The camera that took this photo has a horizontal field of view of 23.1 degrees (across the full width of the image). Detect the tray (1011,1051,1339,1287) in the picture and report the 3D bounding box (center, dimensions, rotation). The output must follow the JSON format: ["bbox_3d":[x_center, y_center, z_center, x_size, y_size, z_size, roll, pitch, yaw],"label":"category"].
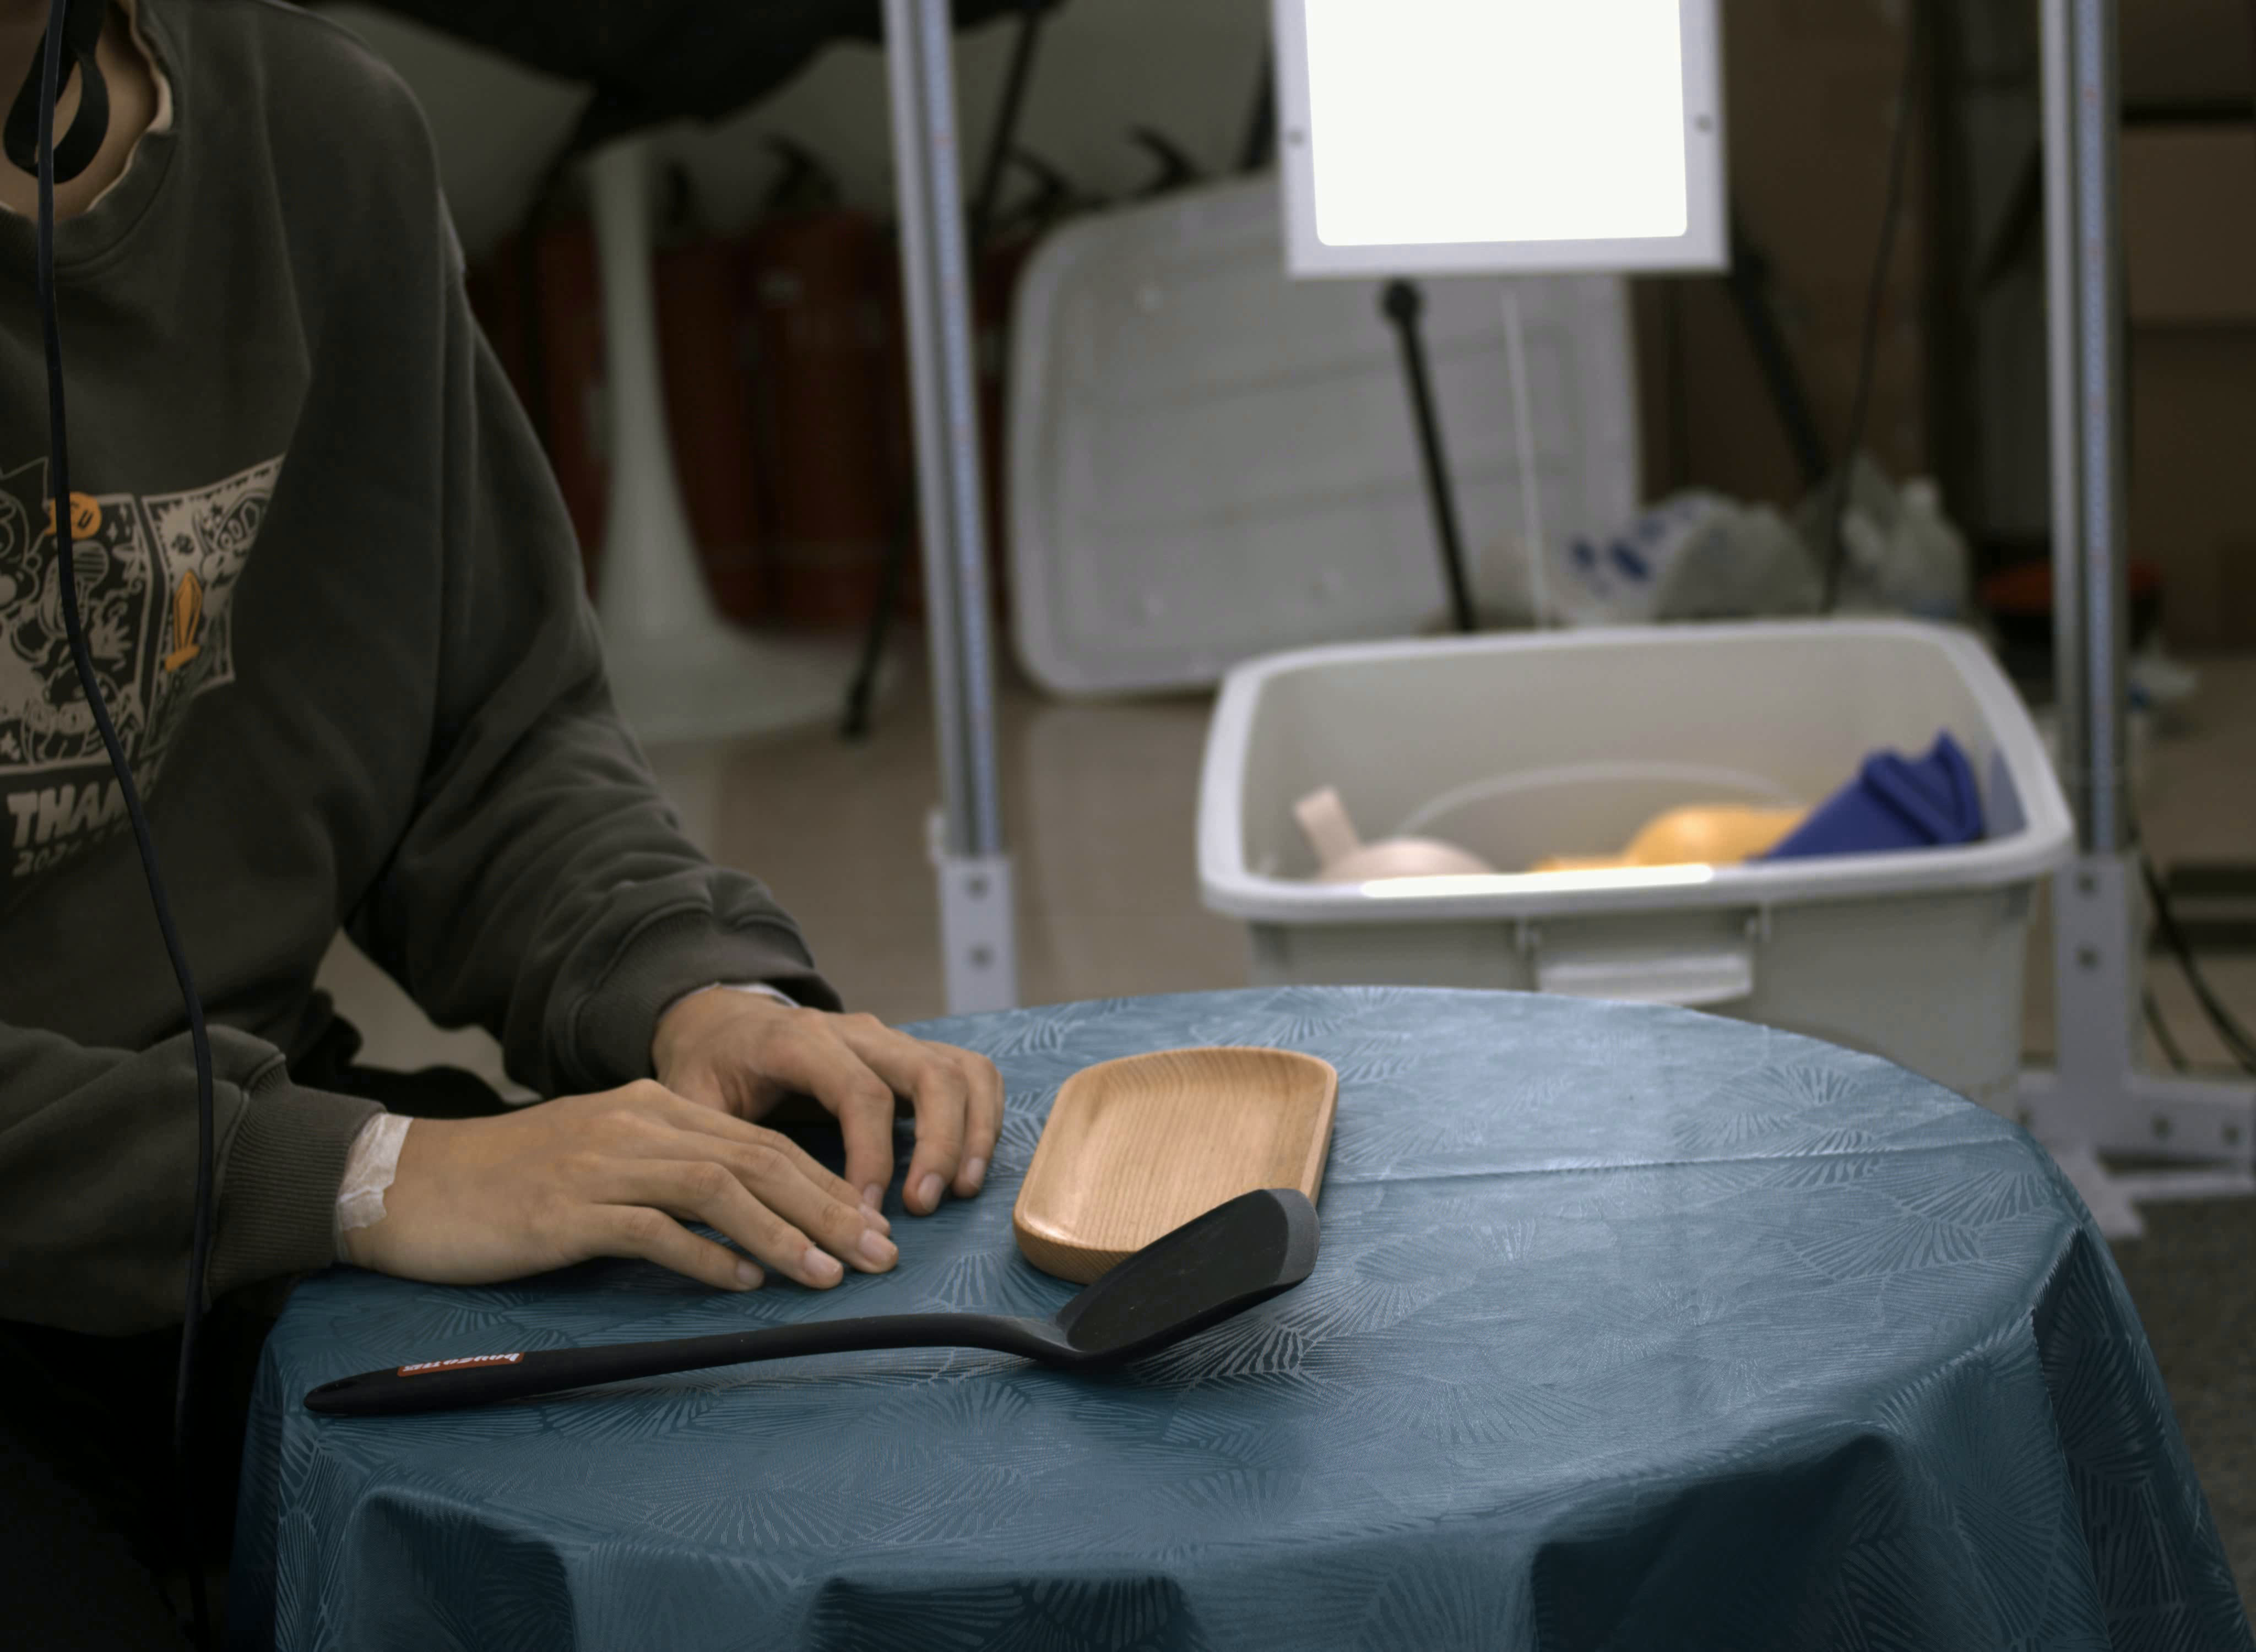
[{"bbox_3d":[0.019,0.116,1.897,0.102,0.020,0.229,-4,15,8],"label":"tray"}]

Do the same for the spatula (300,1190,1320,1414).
[{"bbox_3d":[-0.100,0.156,1.737,0.326,0.040,0.099,-4,13,3],"label":"spatula"}]
